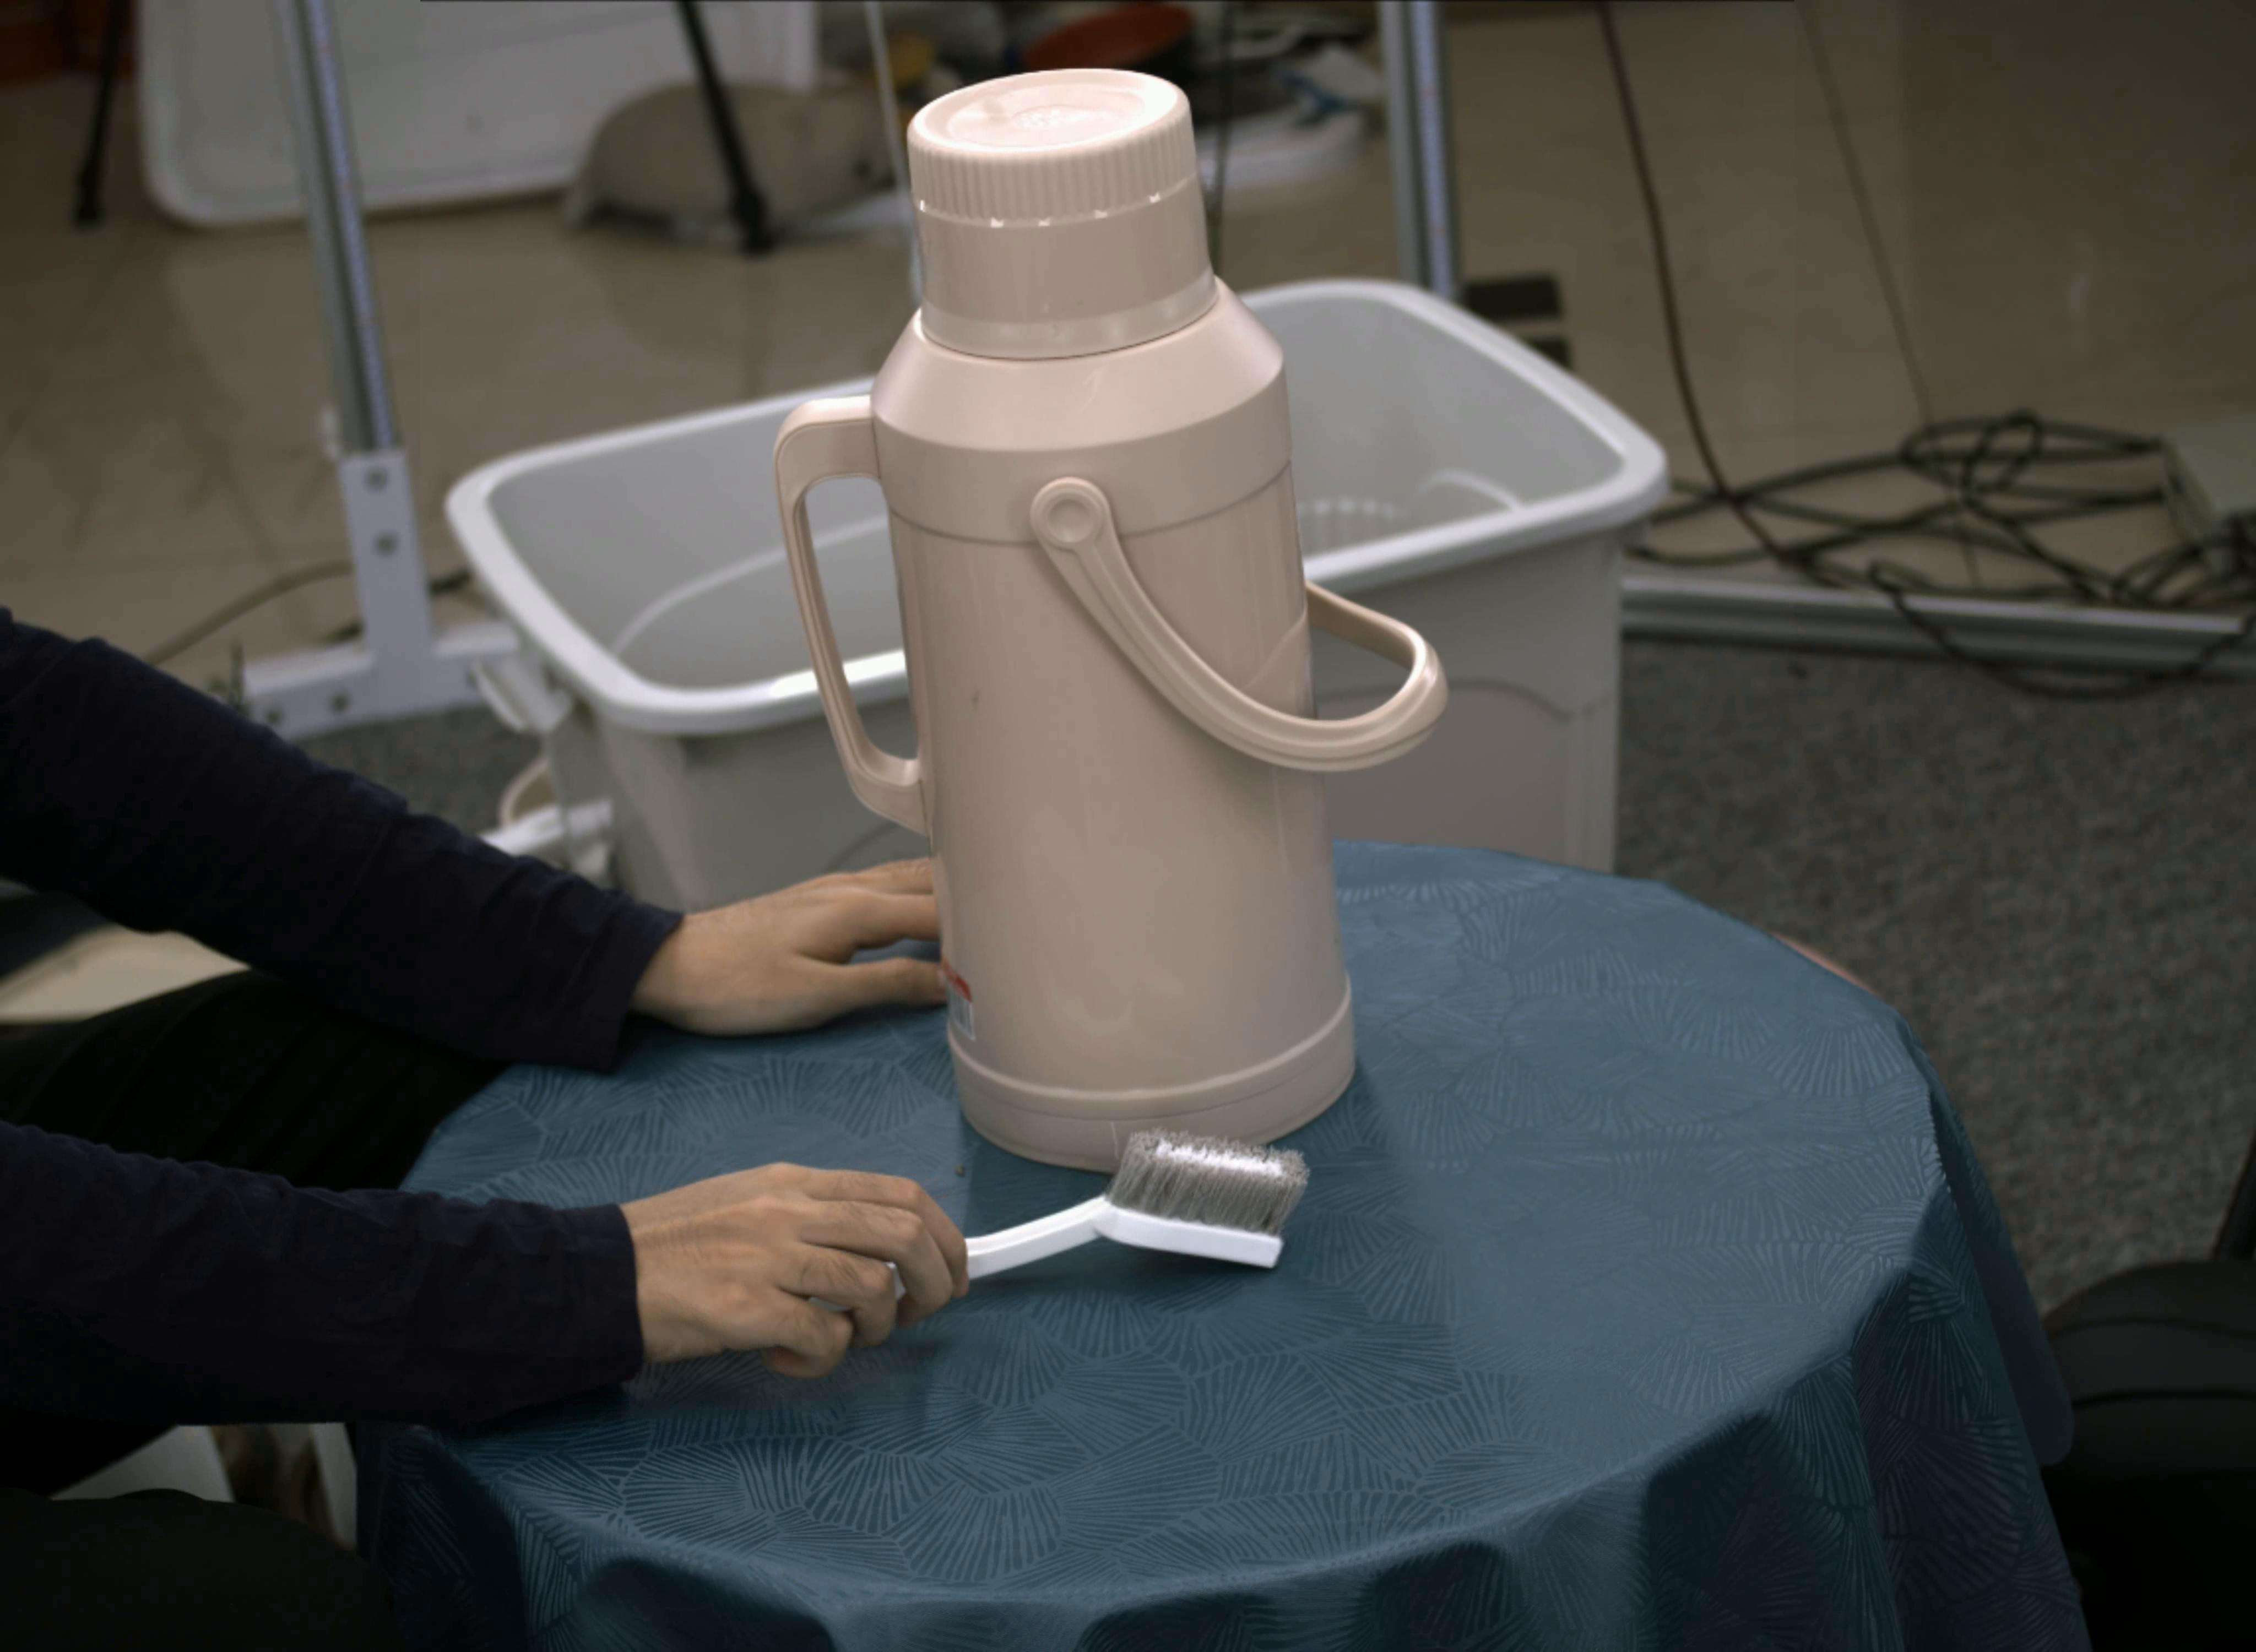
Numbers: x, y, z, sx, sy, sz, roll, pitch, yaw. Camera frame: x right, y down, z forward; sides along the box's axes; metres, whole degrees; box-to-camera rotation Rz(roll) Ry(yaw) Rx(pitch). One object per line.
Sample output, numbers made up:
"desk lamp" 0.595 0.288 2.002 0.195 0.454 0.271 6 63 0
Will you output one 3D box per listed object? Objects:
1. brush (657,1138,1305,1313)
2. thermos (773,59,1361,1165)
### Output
"brush" -0.055 0.147 2.087 0.243 0.051 0.034 -5 29 3
"thermos" -0.022 -0.081 2.148 0.207 0.413 0.172 -5 27 4
